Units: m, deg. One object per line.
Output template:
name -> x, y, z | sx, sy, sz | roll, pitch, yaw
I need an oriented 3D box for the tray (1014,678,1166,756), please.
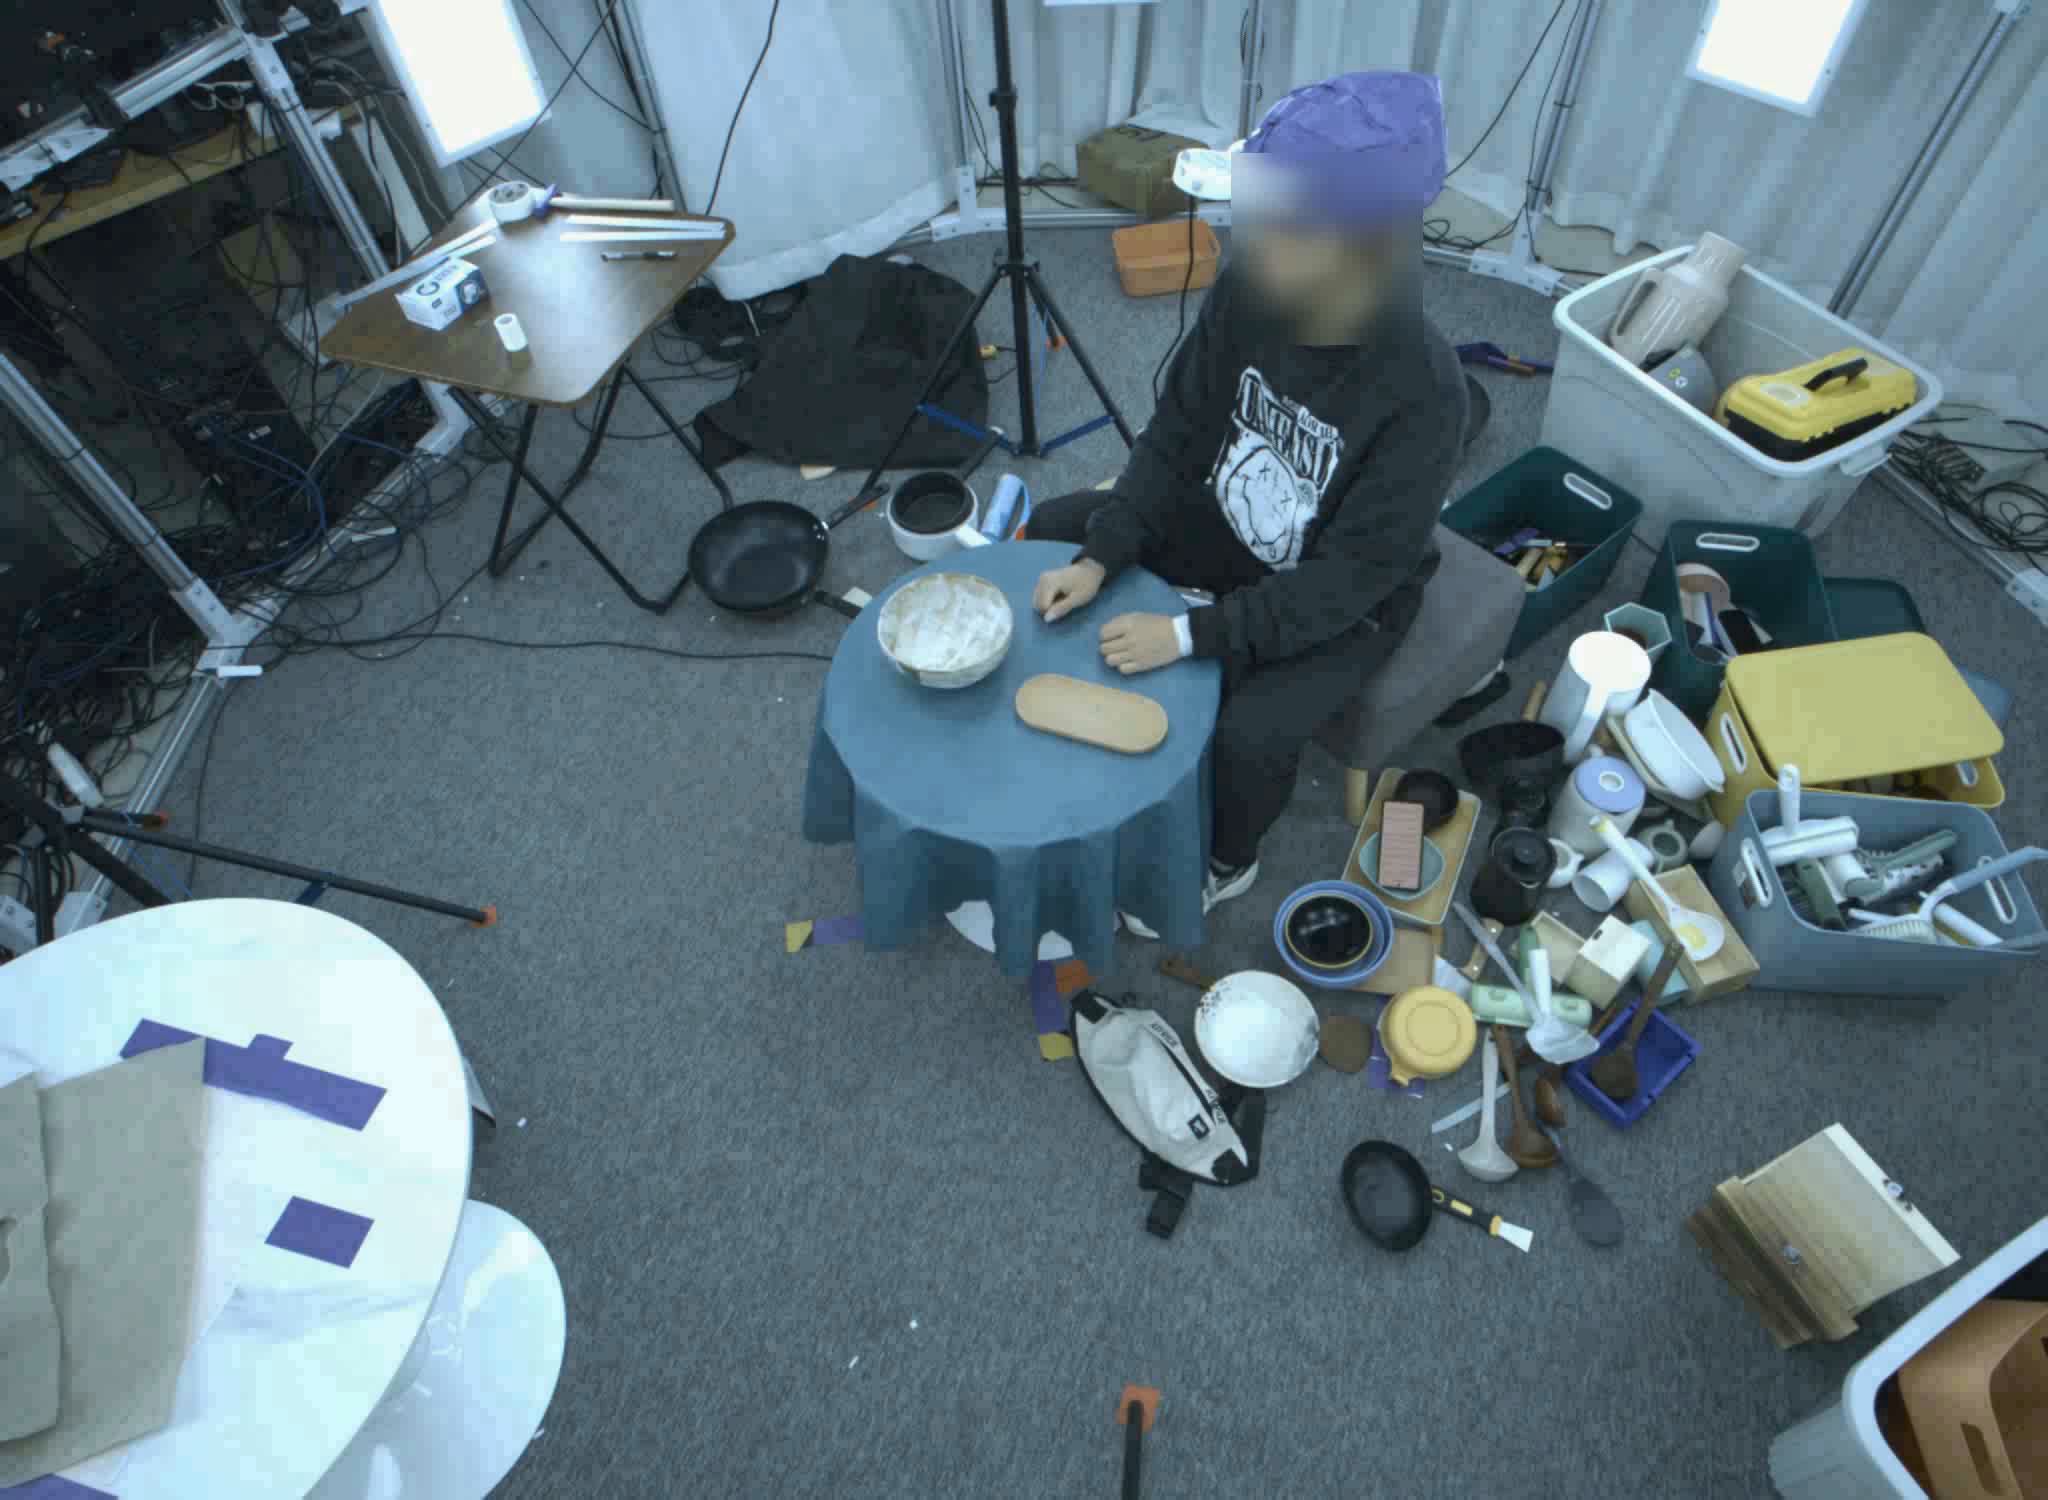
tray -> 0.097, -0.049, 1.820 | 0.229, 0.020, 0.101 | 14, 54, 13

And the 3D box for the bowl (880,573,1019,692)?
bowl -> -0.109, -0.159, 1.856 | 0.214, 0.095, 0.212 | 0, 54, 2
